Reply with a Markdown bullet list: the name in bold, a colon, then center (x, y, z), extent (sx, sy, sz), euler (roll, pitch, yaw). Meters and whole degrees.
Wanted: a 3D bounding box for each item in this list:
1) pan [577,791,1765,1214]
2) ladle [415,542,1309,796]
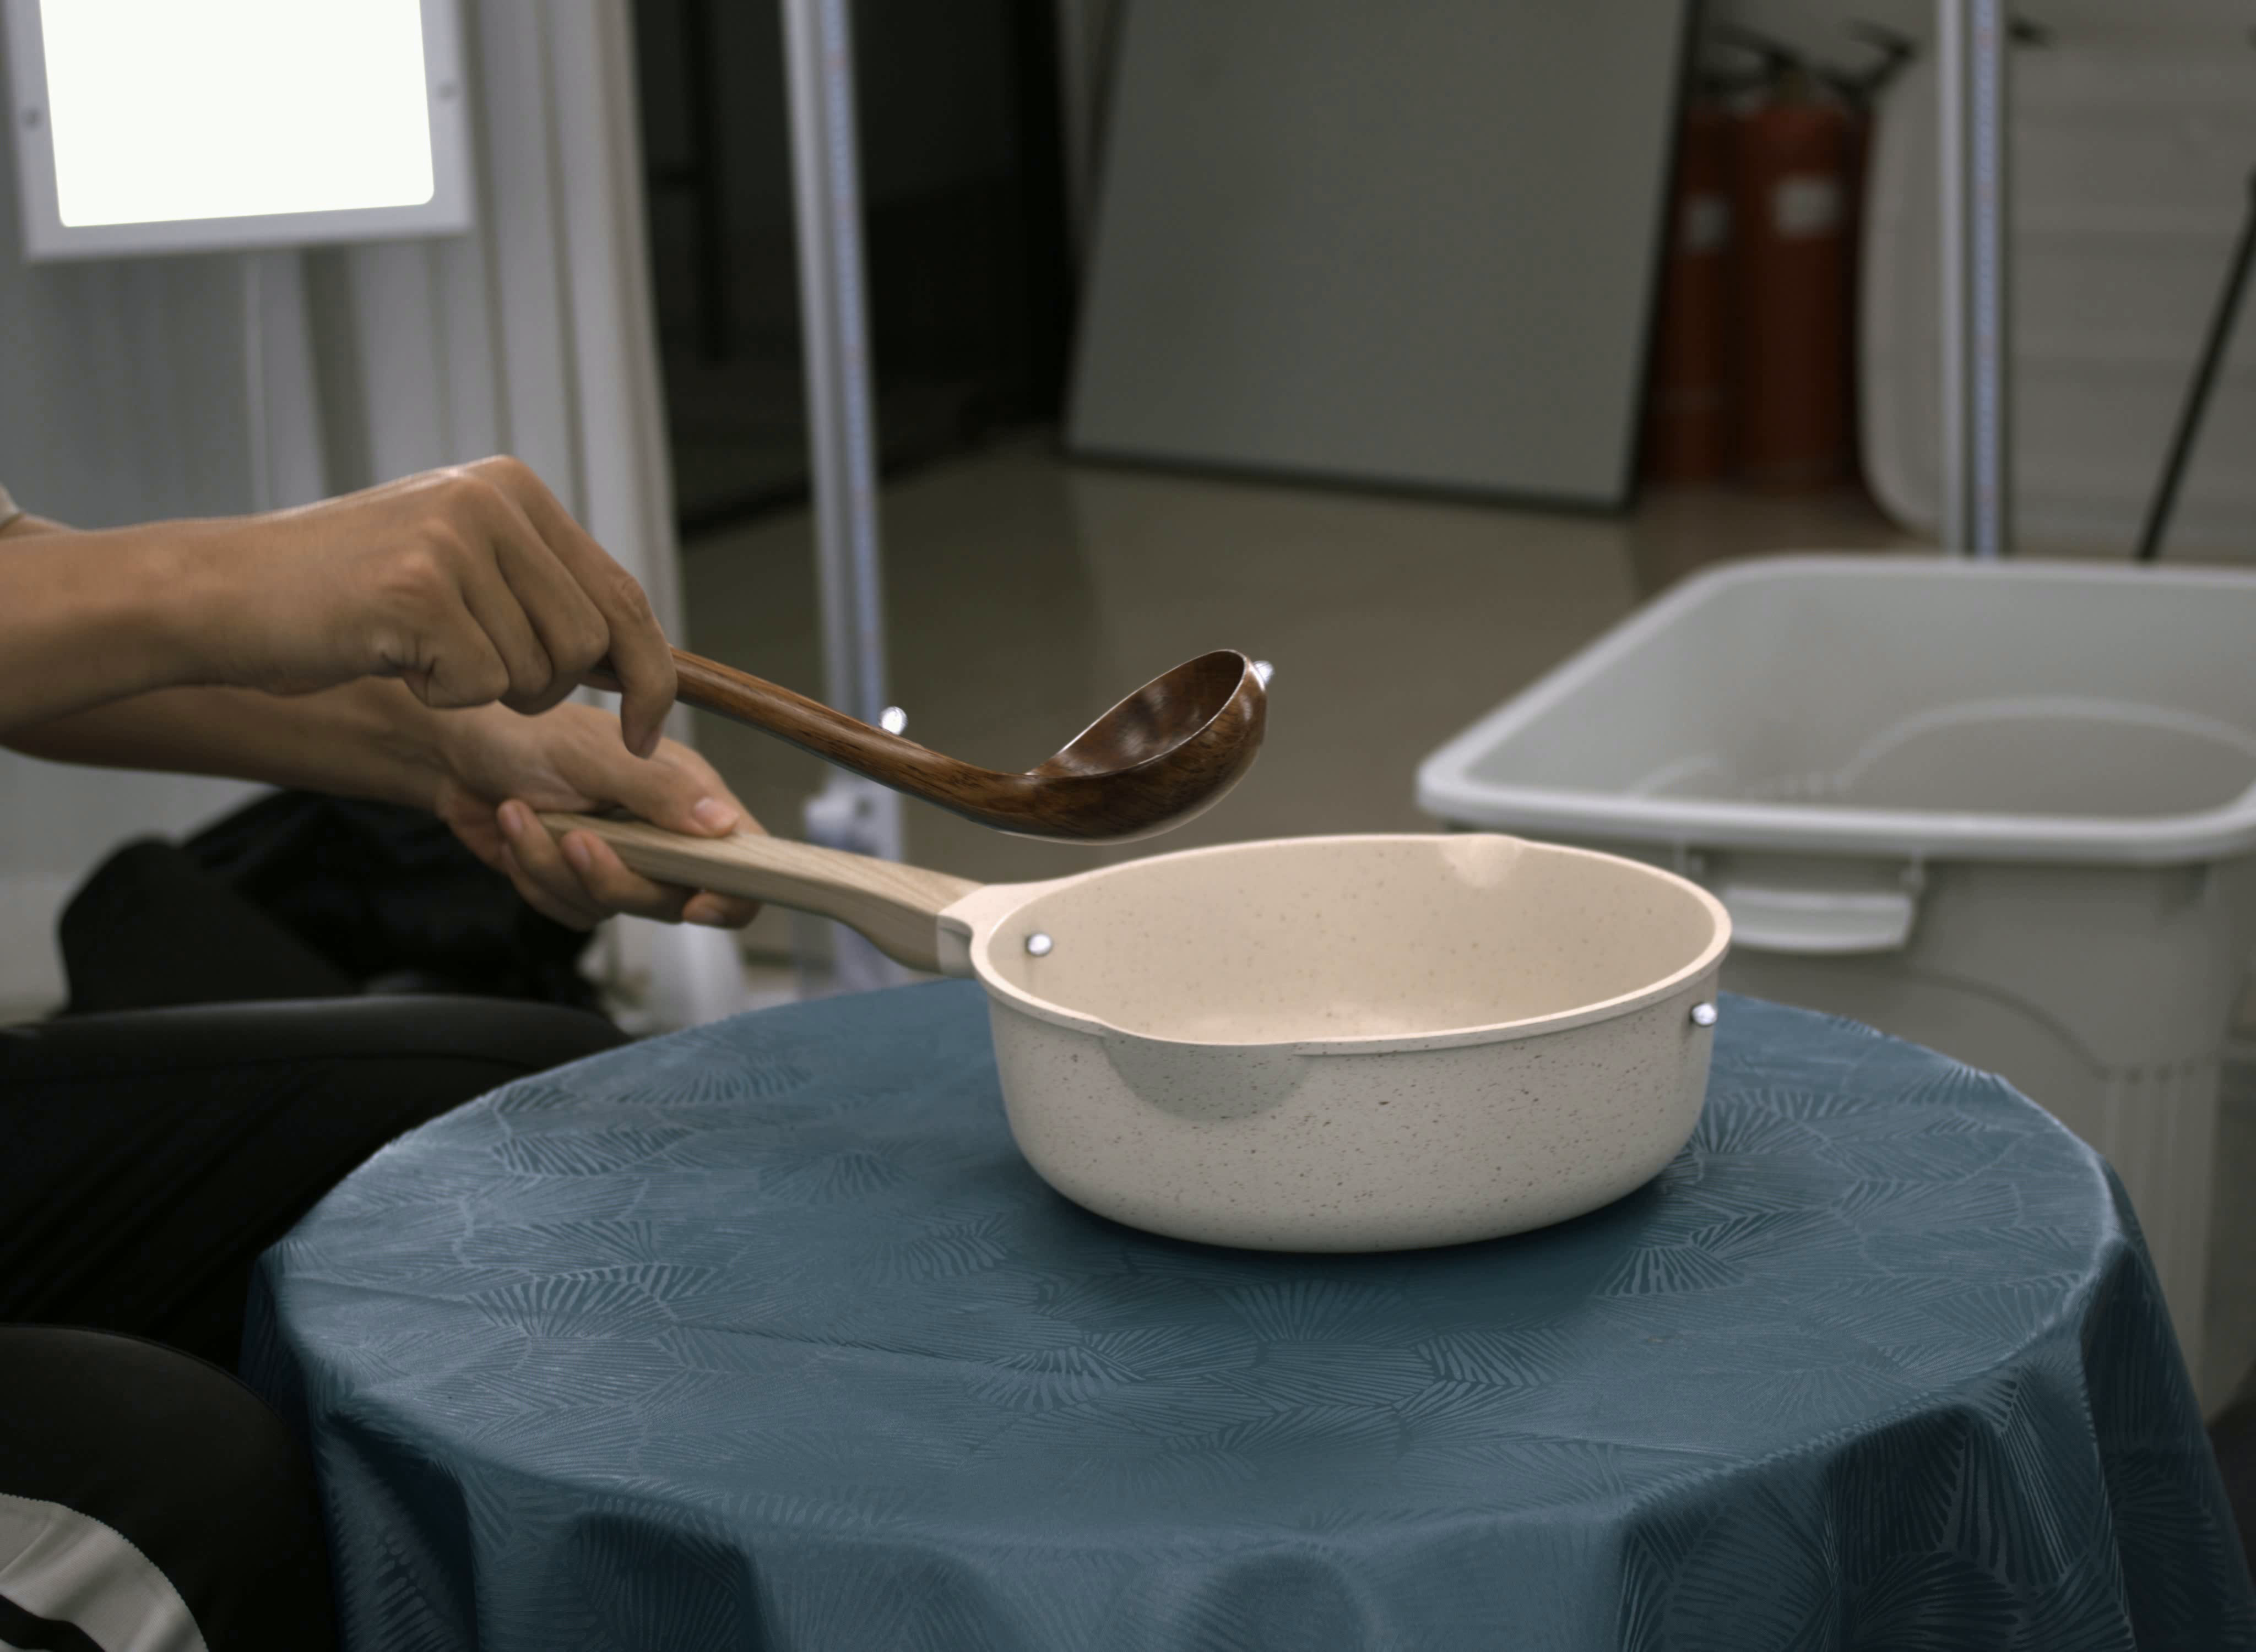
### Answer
- **pan**: center (0.007, 0.049, 1.833), extent (0.436, 0.103, 0.260), euler (3, 16, 26)
- **ladle**: center (-0.072, -0.068, 1.585), extent (0.268, 0.077, 0.082), euler (18, -13, -21)
